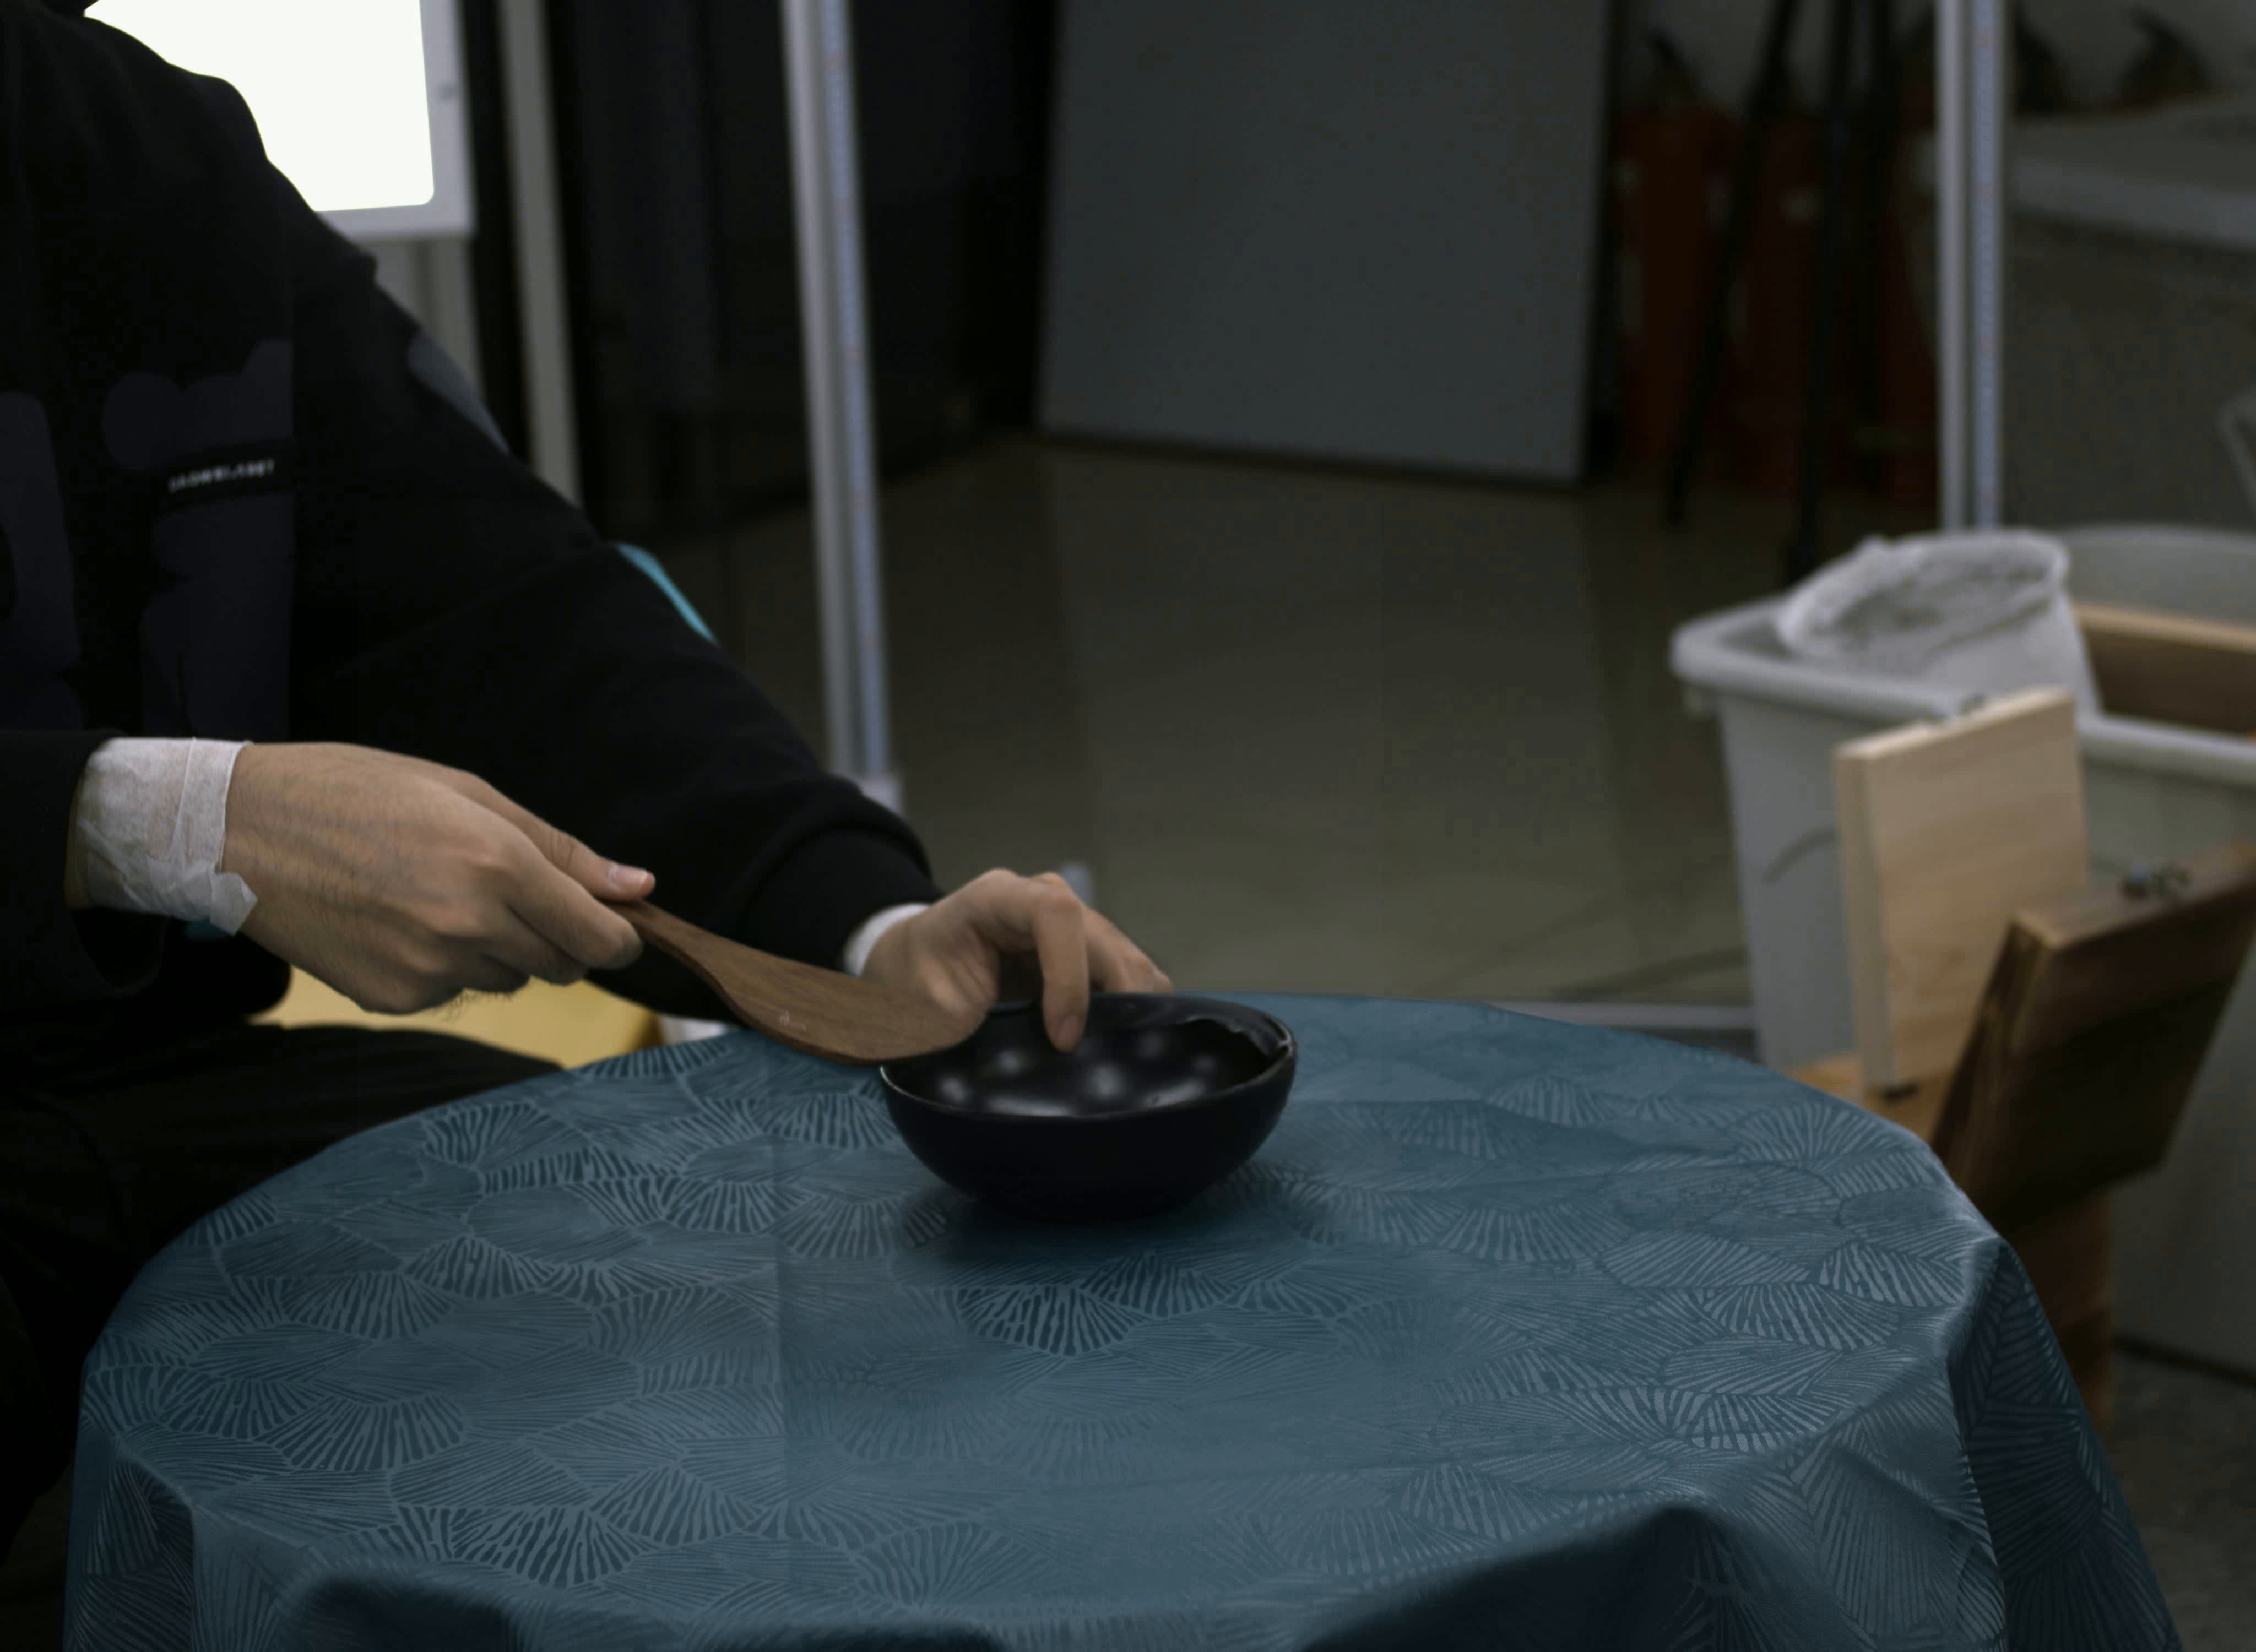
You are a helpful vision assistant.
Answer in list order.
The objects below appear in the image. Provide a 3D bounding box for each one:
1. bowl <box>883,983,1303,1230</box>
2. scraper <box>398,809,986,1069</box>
[{"bbox_3d":[-0.010,0.097,1.767,0.138,0.050,0.140,-4,17,0],"label":"bowl"},{"bbox_3d":[-0.142,0.035,1.693,0.212,0.011,0.074,23,18,27],"label":"scraper"}]
